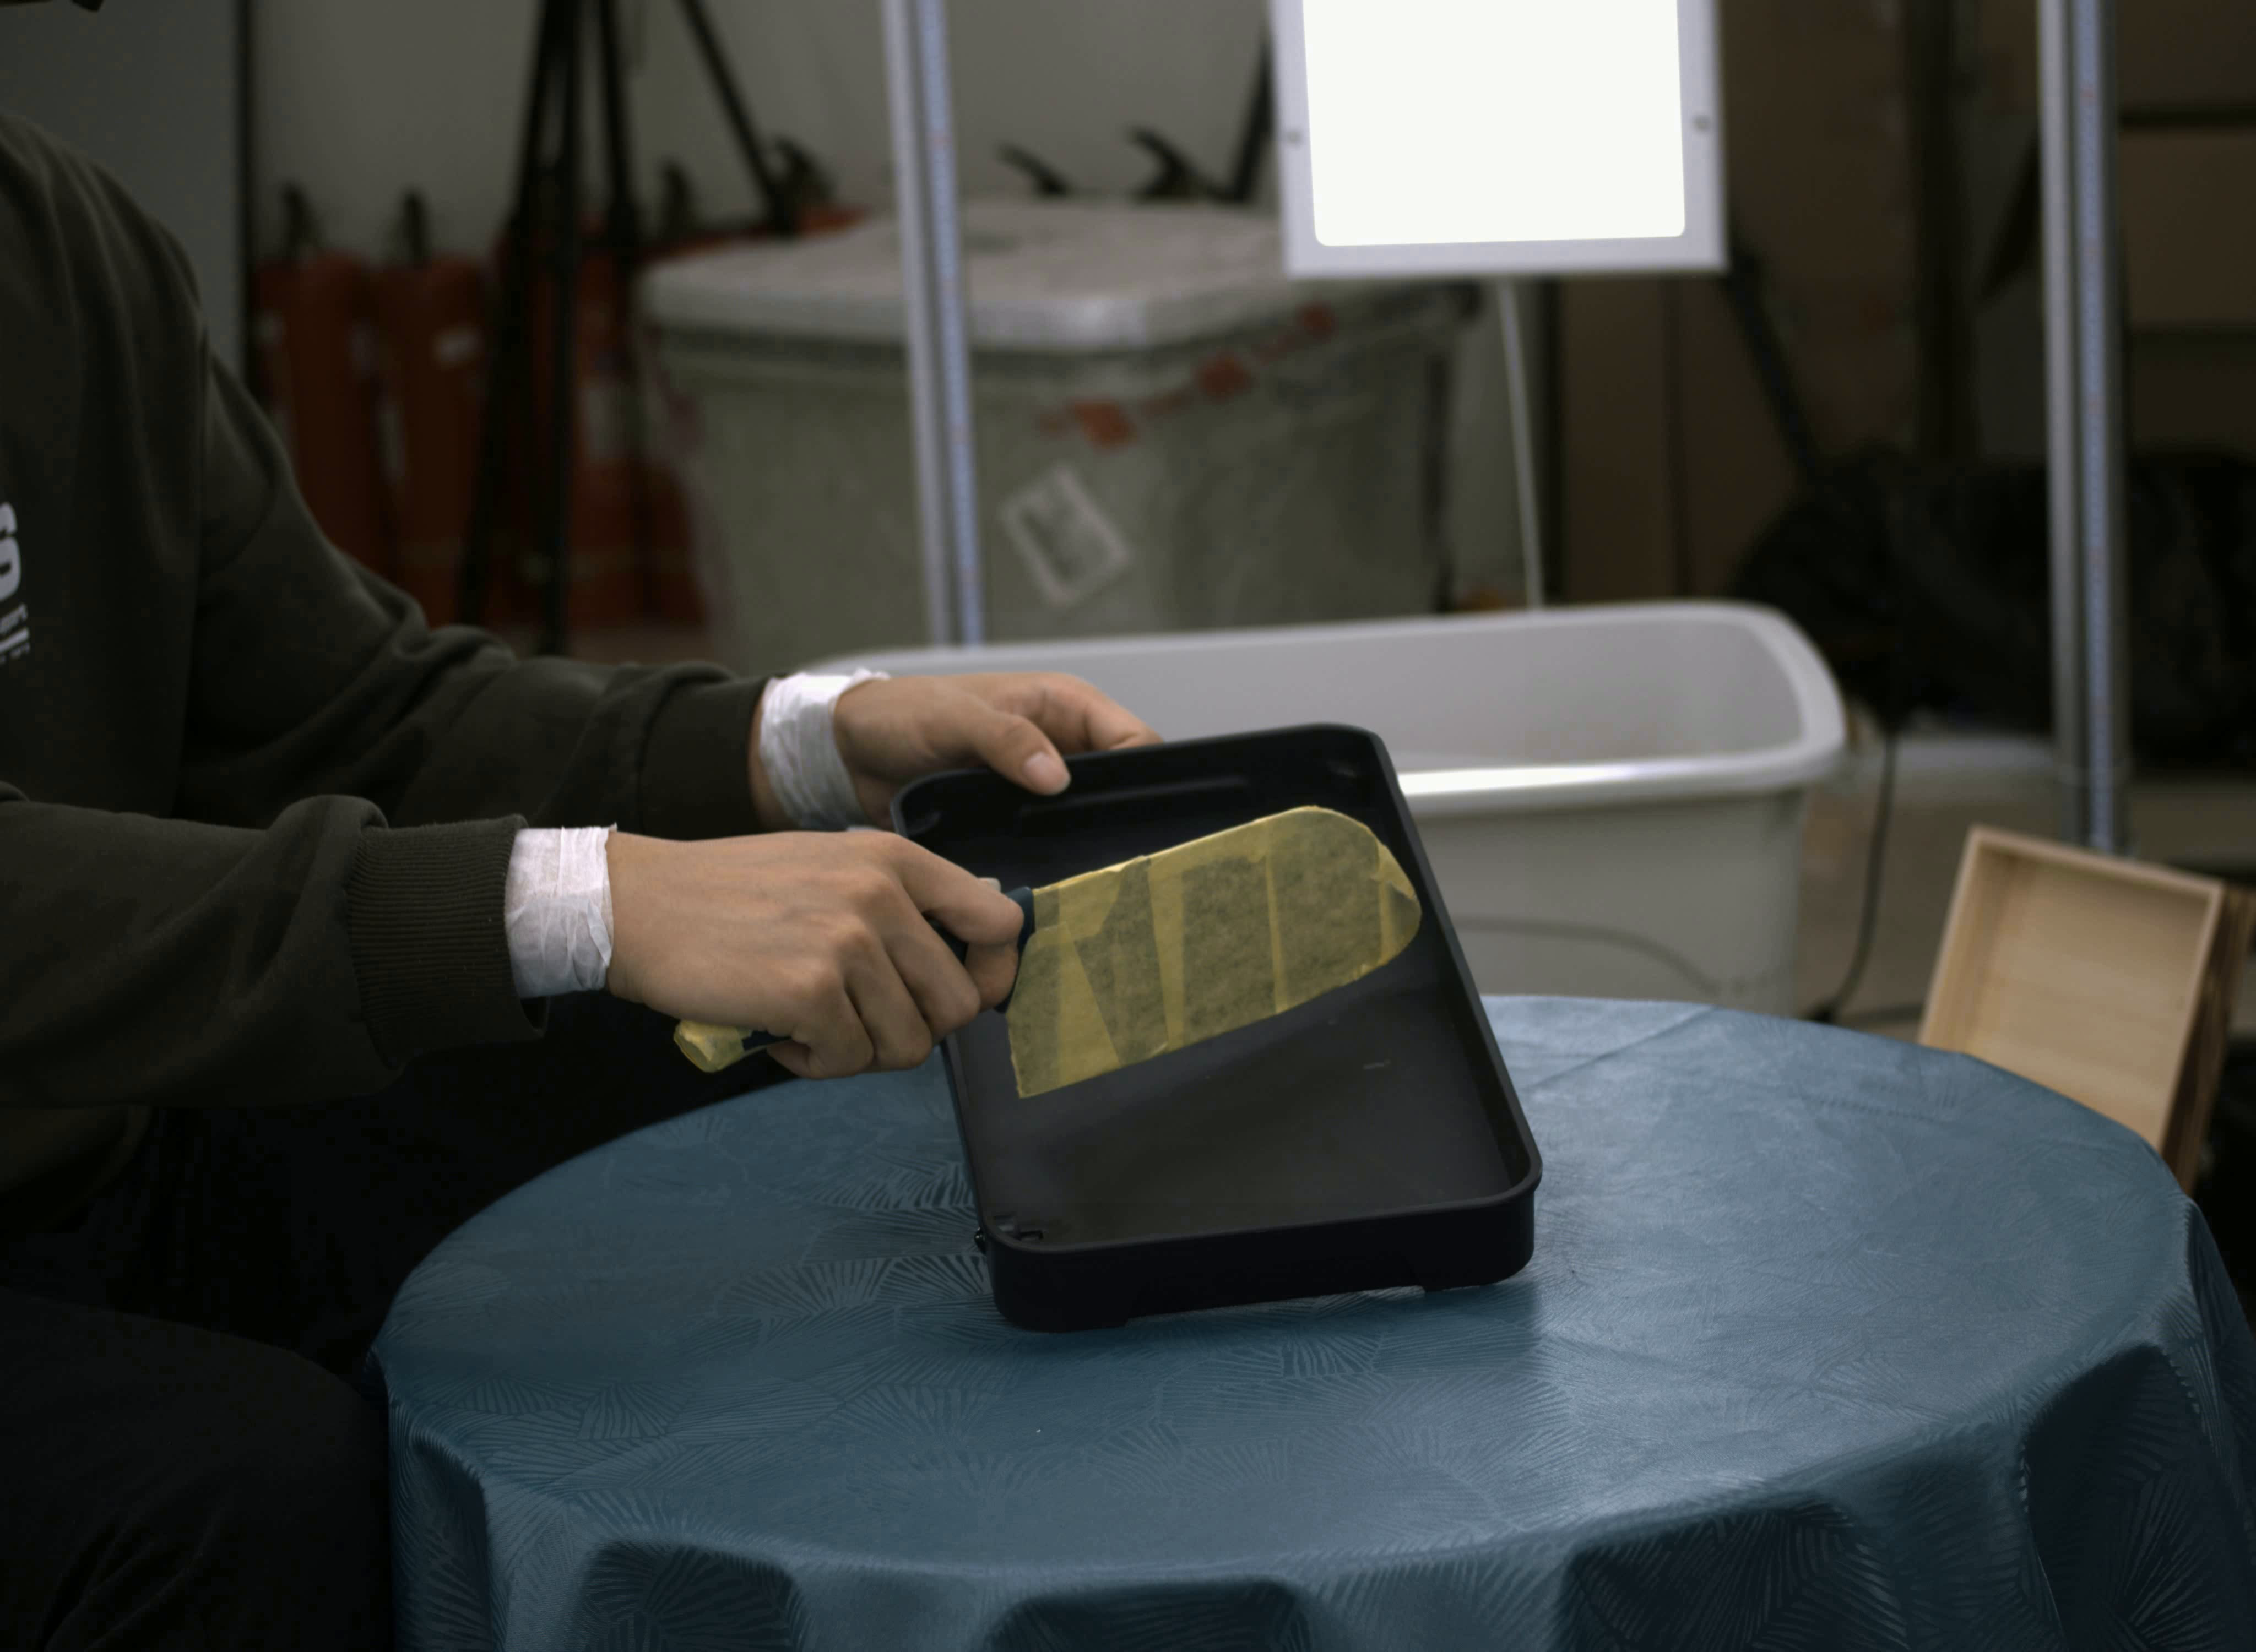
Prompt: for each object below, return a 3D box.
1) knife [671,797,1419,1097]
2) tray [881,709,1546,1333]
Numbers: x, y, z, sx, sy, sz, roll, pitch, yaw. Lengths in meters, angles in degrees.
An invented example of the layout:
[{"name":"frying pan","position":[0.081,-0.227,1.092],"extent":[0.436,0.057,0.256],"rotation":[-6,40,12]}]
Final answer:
[{"name":"knife","position":[-0.022,0.049,1.851],"extent":[0.283,0.081,0.028],"rotation":[-13,19,-26]},{"name":"tray","position":[0.024,0.061,1.897],"extent":[0.183,0.037,0.319],"rotation":[-9,31,-5]}]
